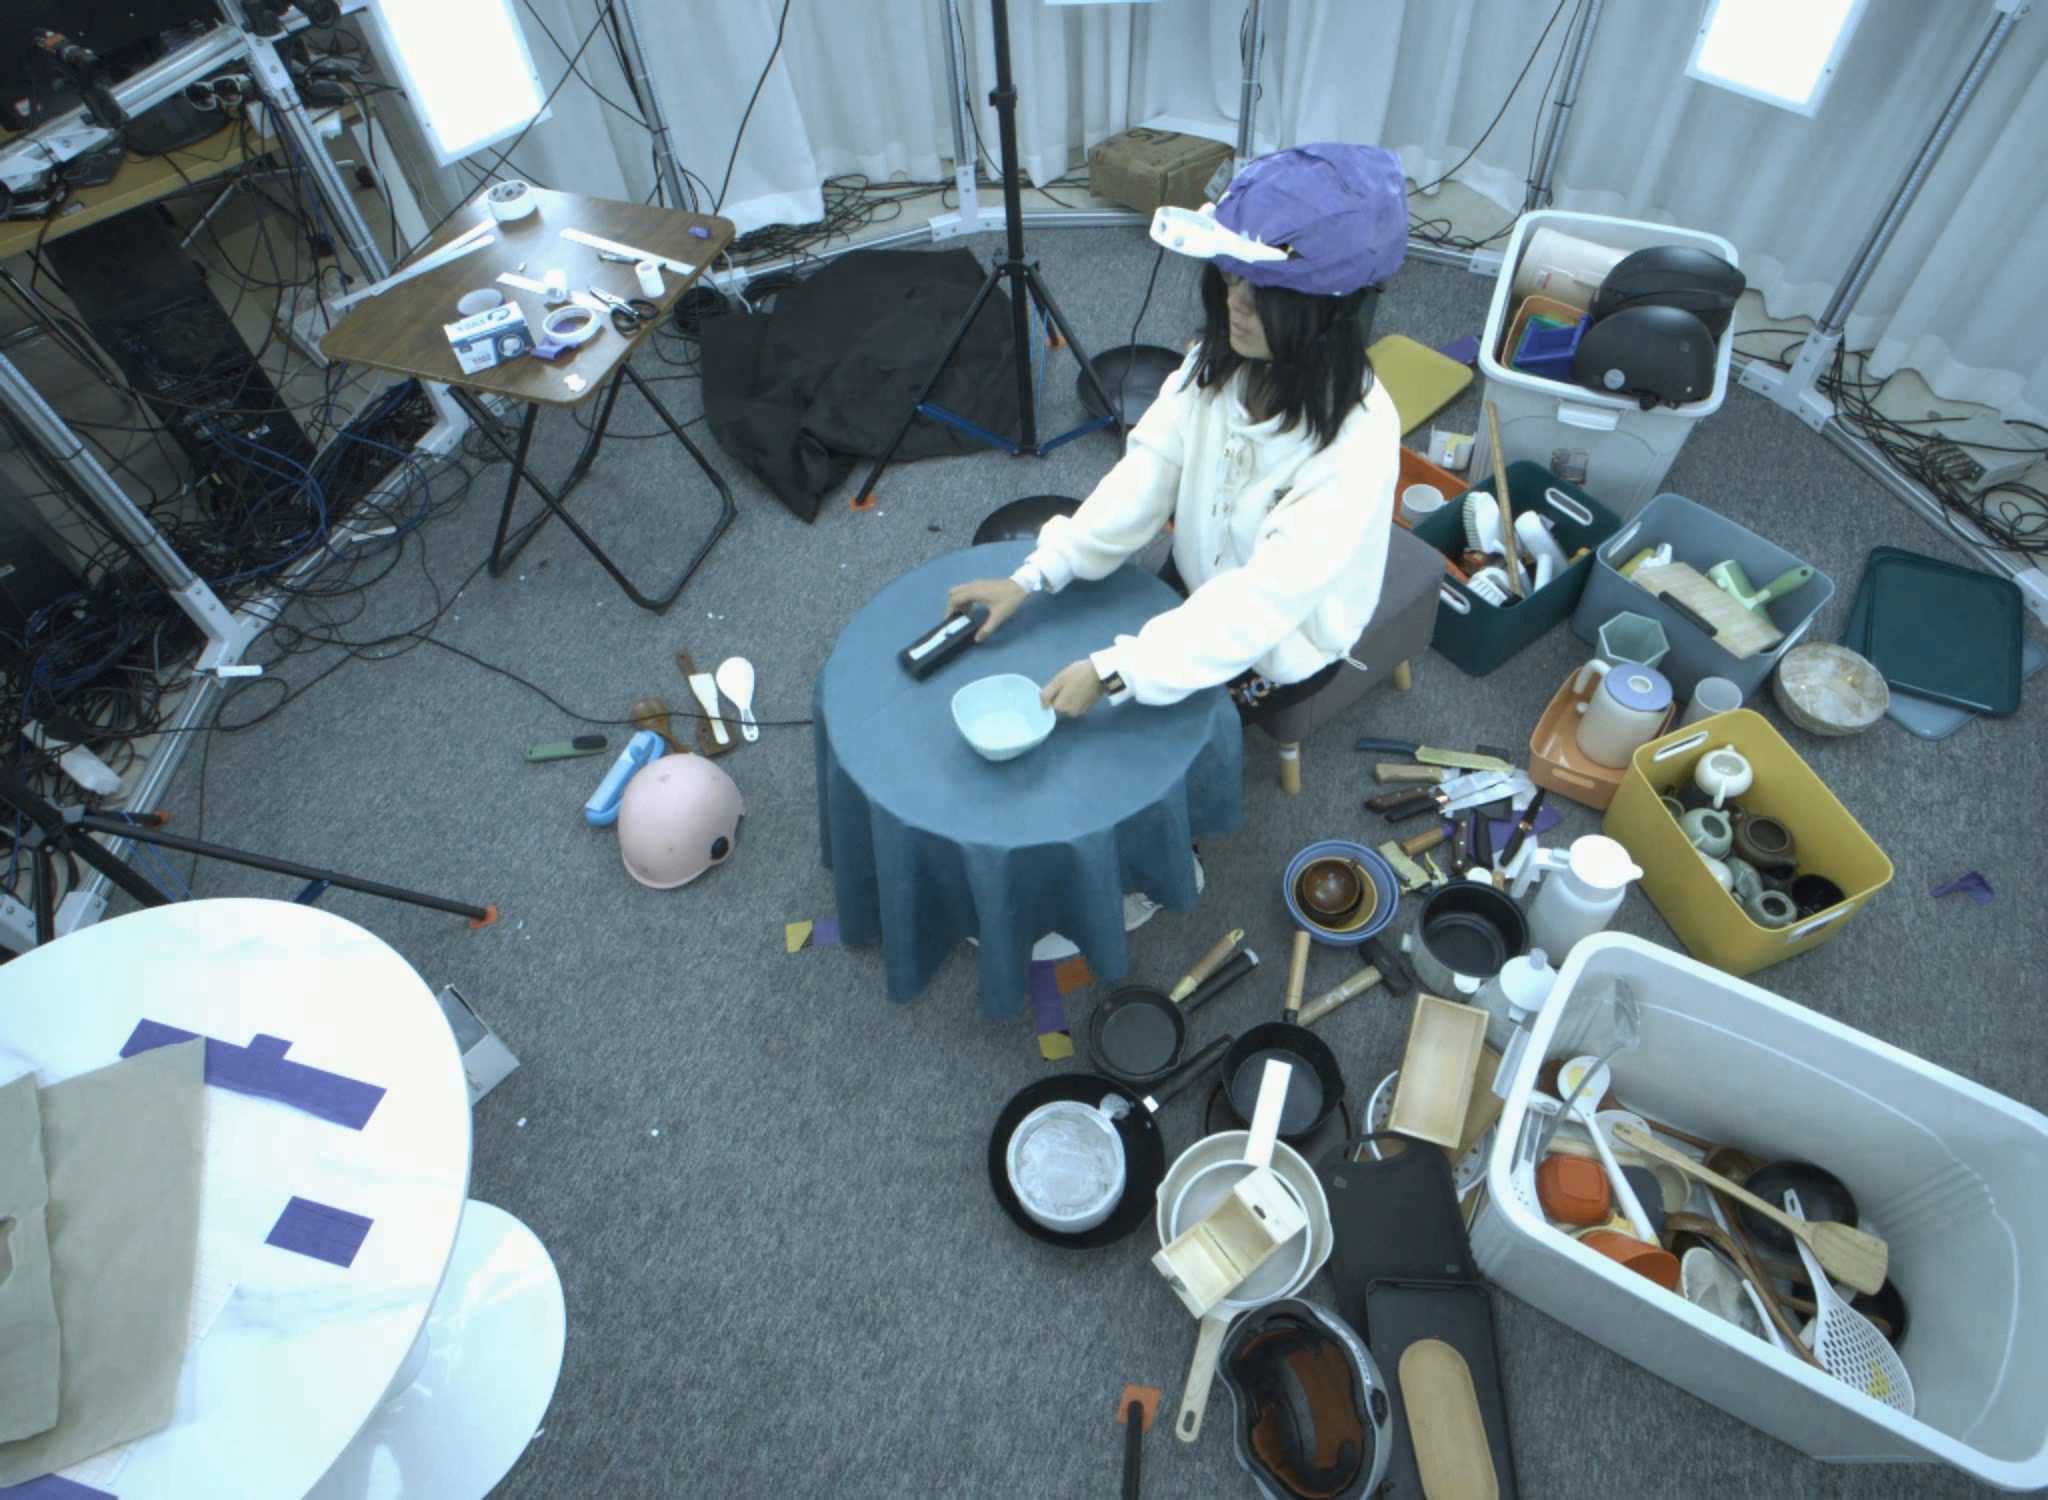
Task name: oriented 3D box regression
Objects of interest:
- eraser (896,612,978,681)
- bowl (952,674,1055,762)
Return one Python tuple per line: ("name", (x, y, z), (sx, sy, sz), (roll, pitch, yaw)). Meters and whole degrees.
("eraser", (-0.133, -0.160, 1.887), (0.126, 0.031, 0.052), (-38, 61, -23))
("bowl", (-0.031, -0.037, 1.774), (0.152, 0.059, 0.150), (3, 52, -3))
